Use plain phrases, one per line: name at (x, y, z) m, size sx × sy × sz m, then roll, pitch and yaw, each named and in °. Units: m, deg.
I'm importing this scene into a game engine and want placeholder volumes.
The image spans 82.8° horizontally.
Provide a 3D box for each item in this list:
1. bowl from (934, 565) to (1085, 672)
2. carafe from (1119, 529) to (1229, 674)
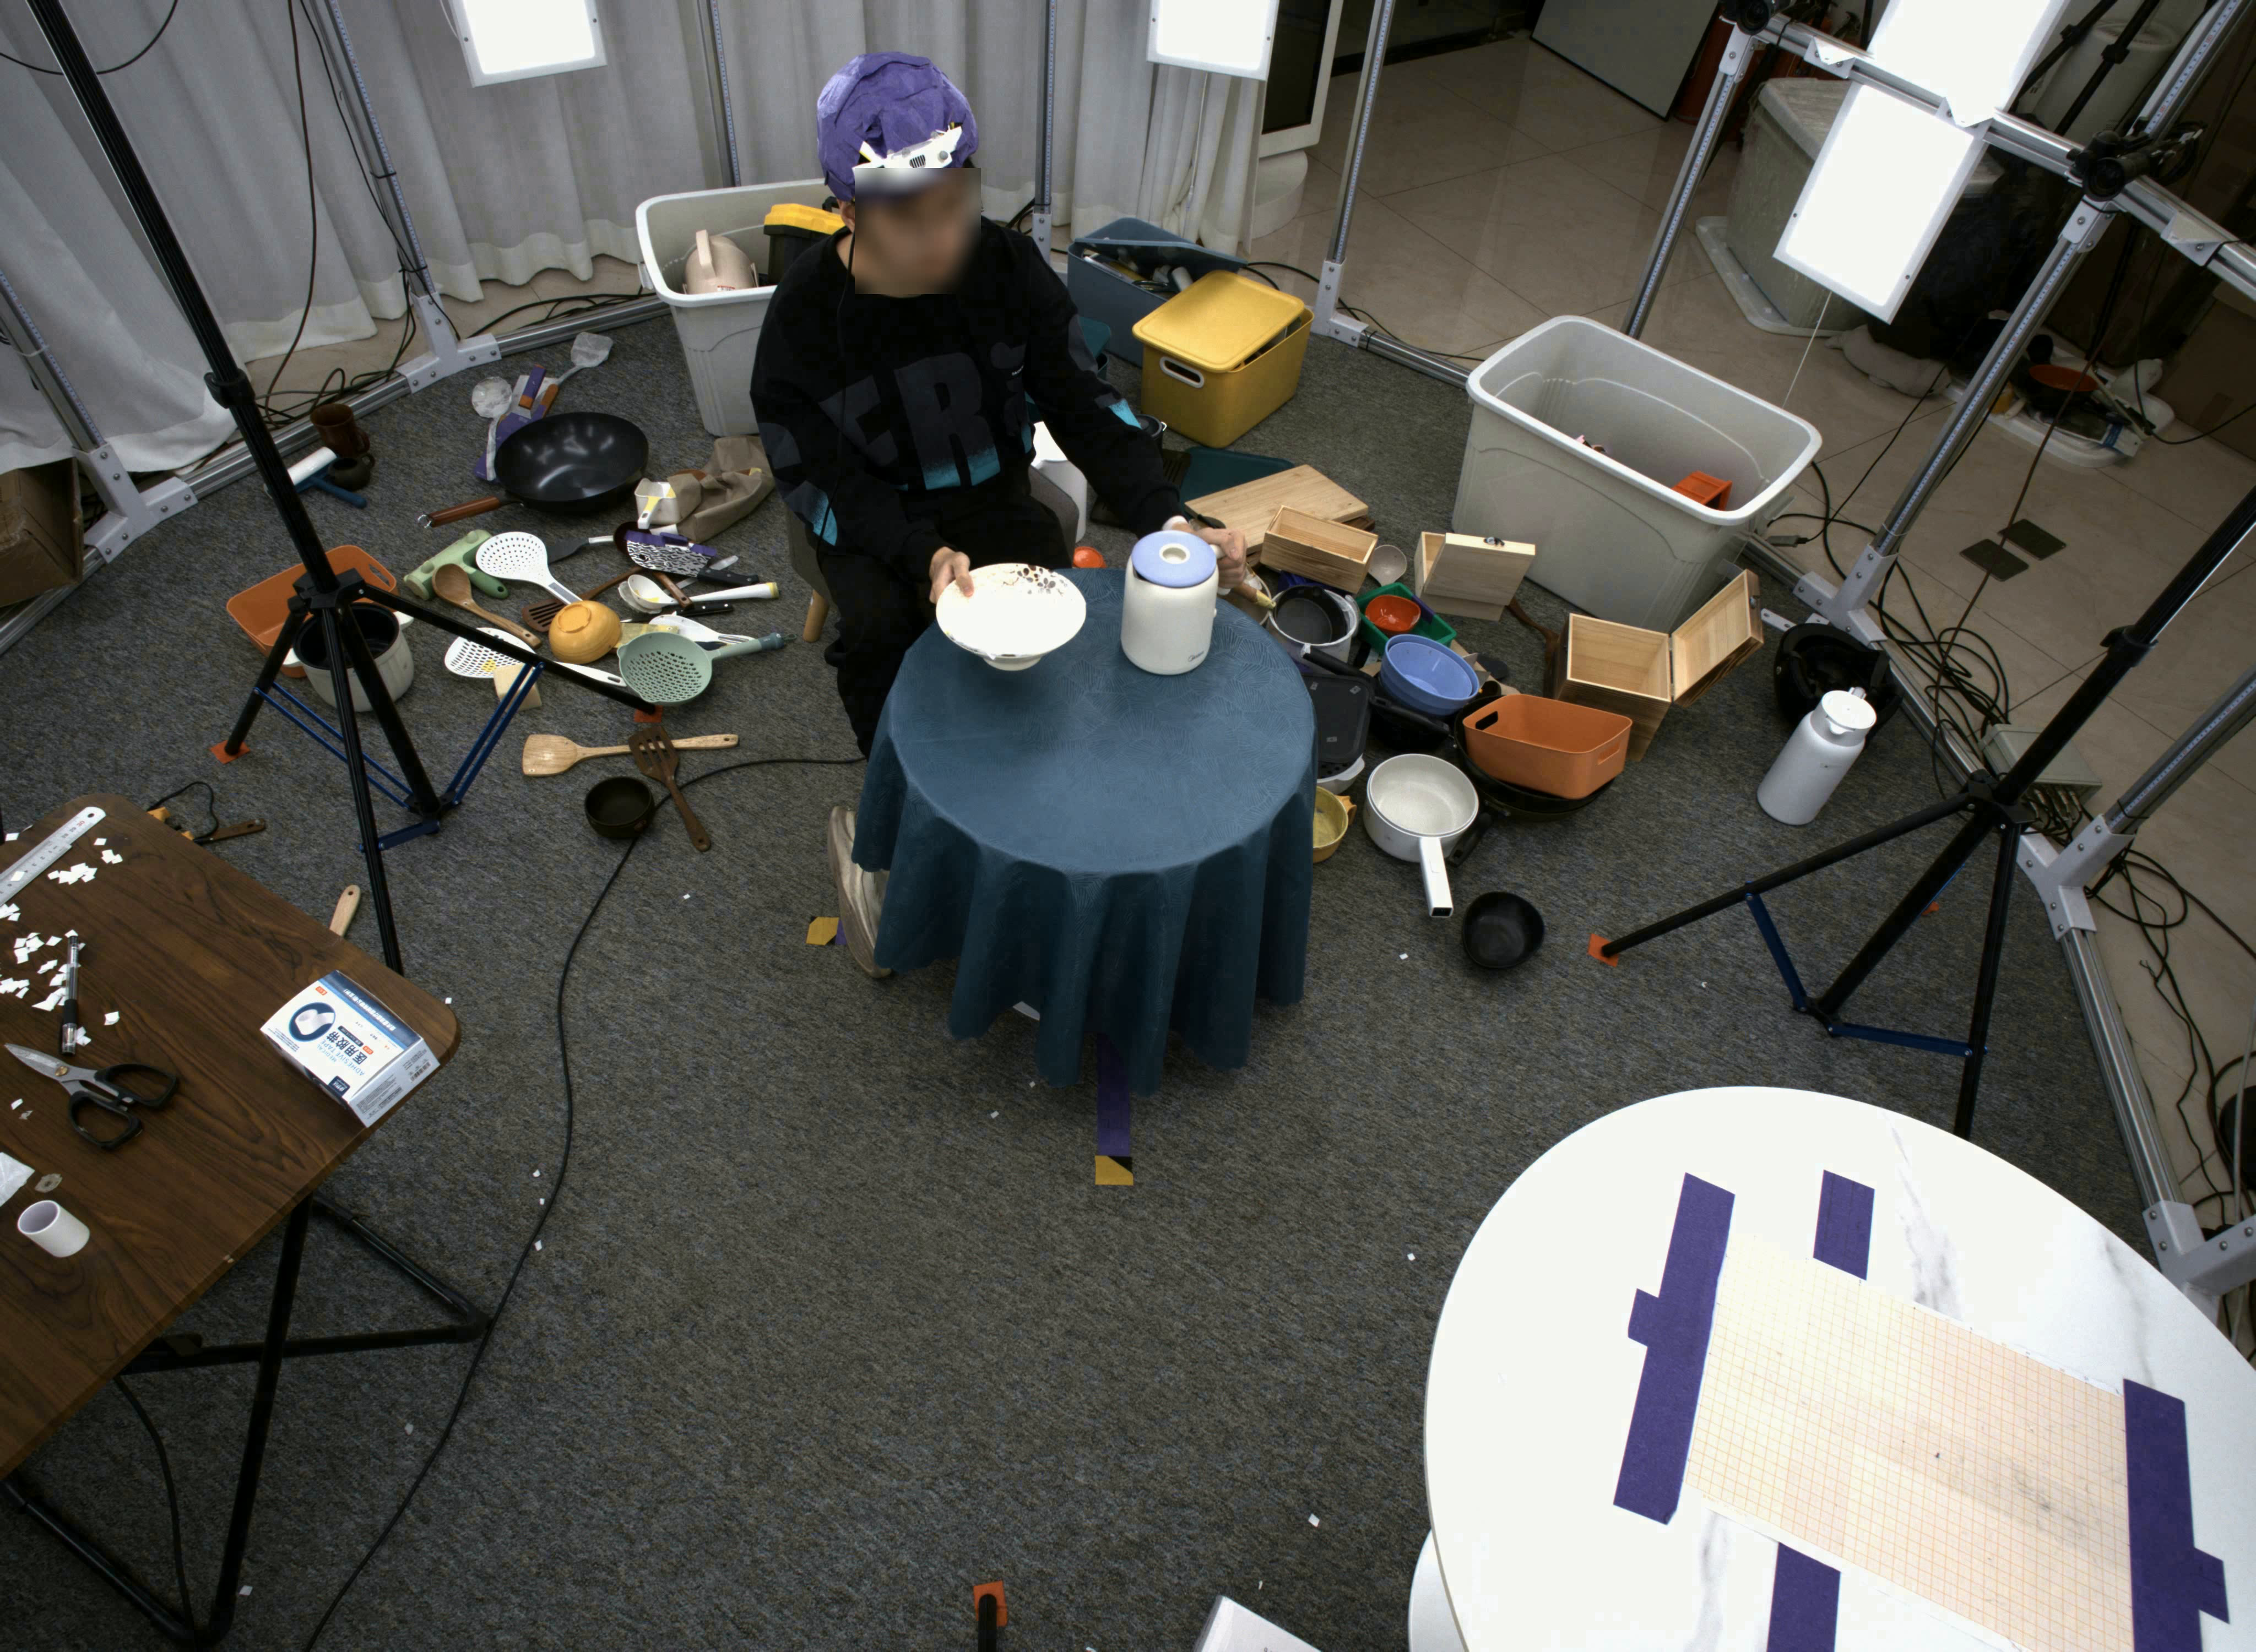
bowl at (-0.162, -0.270, 1.773) m, size 0.204 × 0.076 × 0.209 m, roll 2°, pitch 45°, yaw -2°
carafe at (0.076, -0.331, 1.850) m, size 0.192 × 0.178 × 0.134 m, roll -32°, pitch 59°, yaw -30°
